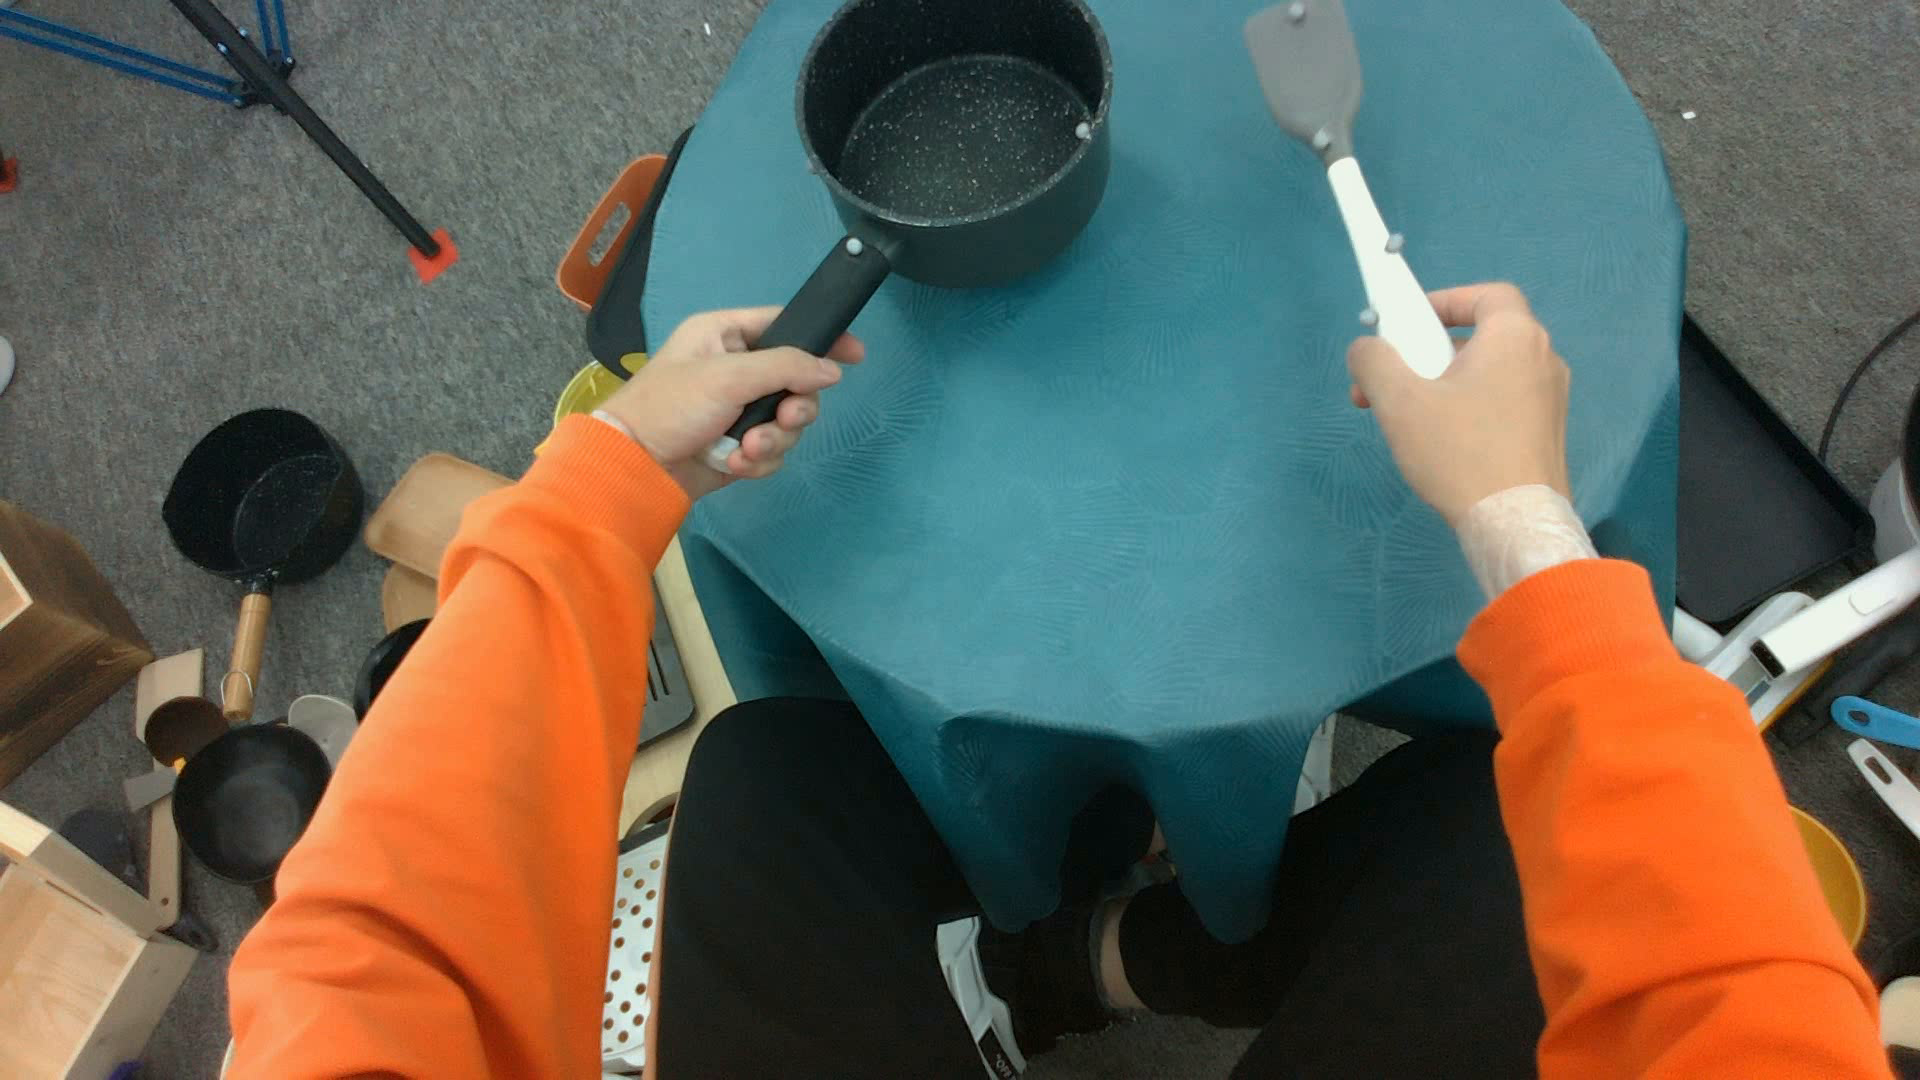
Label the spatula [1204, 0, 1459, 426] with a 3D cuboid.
[{"bbox_3d":[0.186,-0.181,0.697,0.058,0.032,0.288,-23,57,19],"label":"spatula"}]

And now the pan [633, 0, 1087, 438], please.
[{"bbox_3d":[-0.056,-0.177,0.743,0.172,0.086,0.329,28,74,17],"label":"pan"}]
